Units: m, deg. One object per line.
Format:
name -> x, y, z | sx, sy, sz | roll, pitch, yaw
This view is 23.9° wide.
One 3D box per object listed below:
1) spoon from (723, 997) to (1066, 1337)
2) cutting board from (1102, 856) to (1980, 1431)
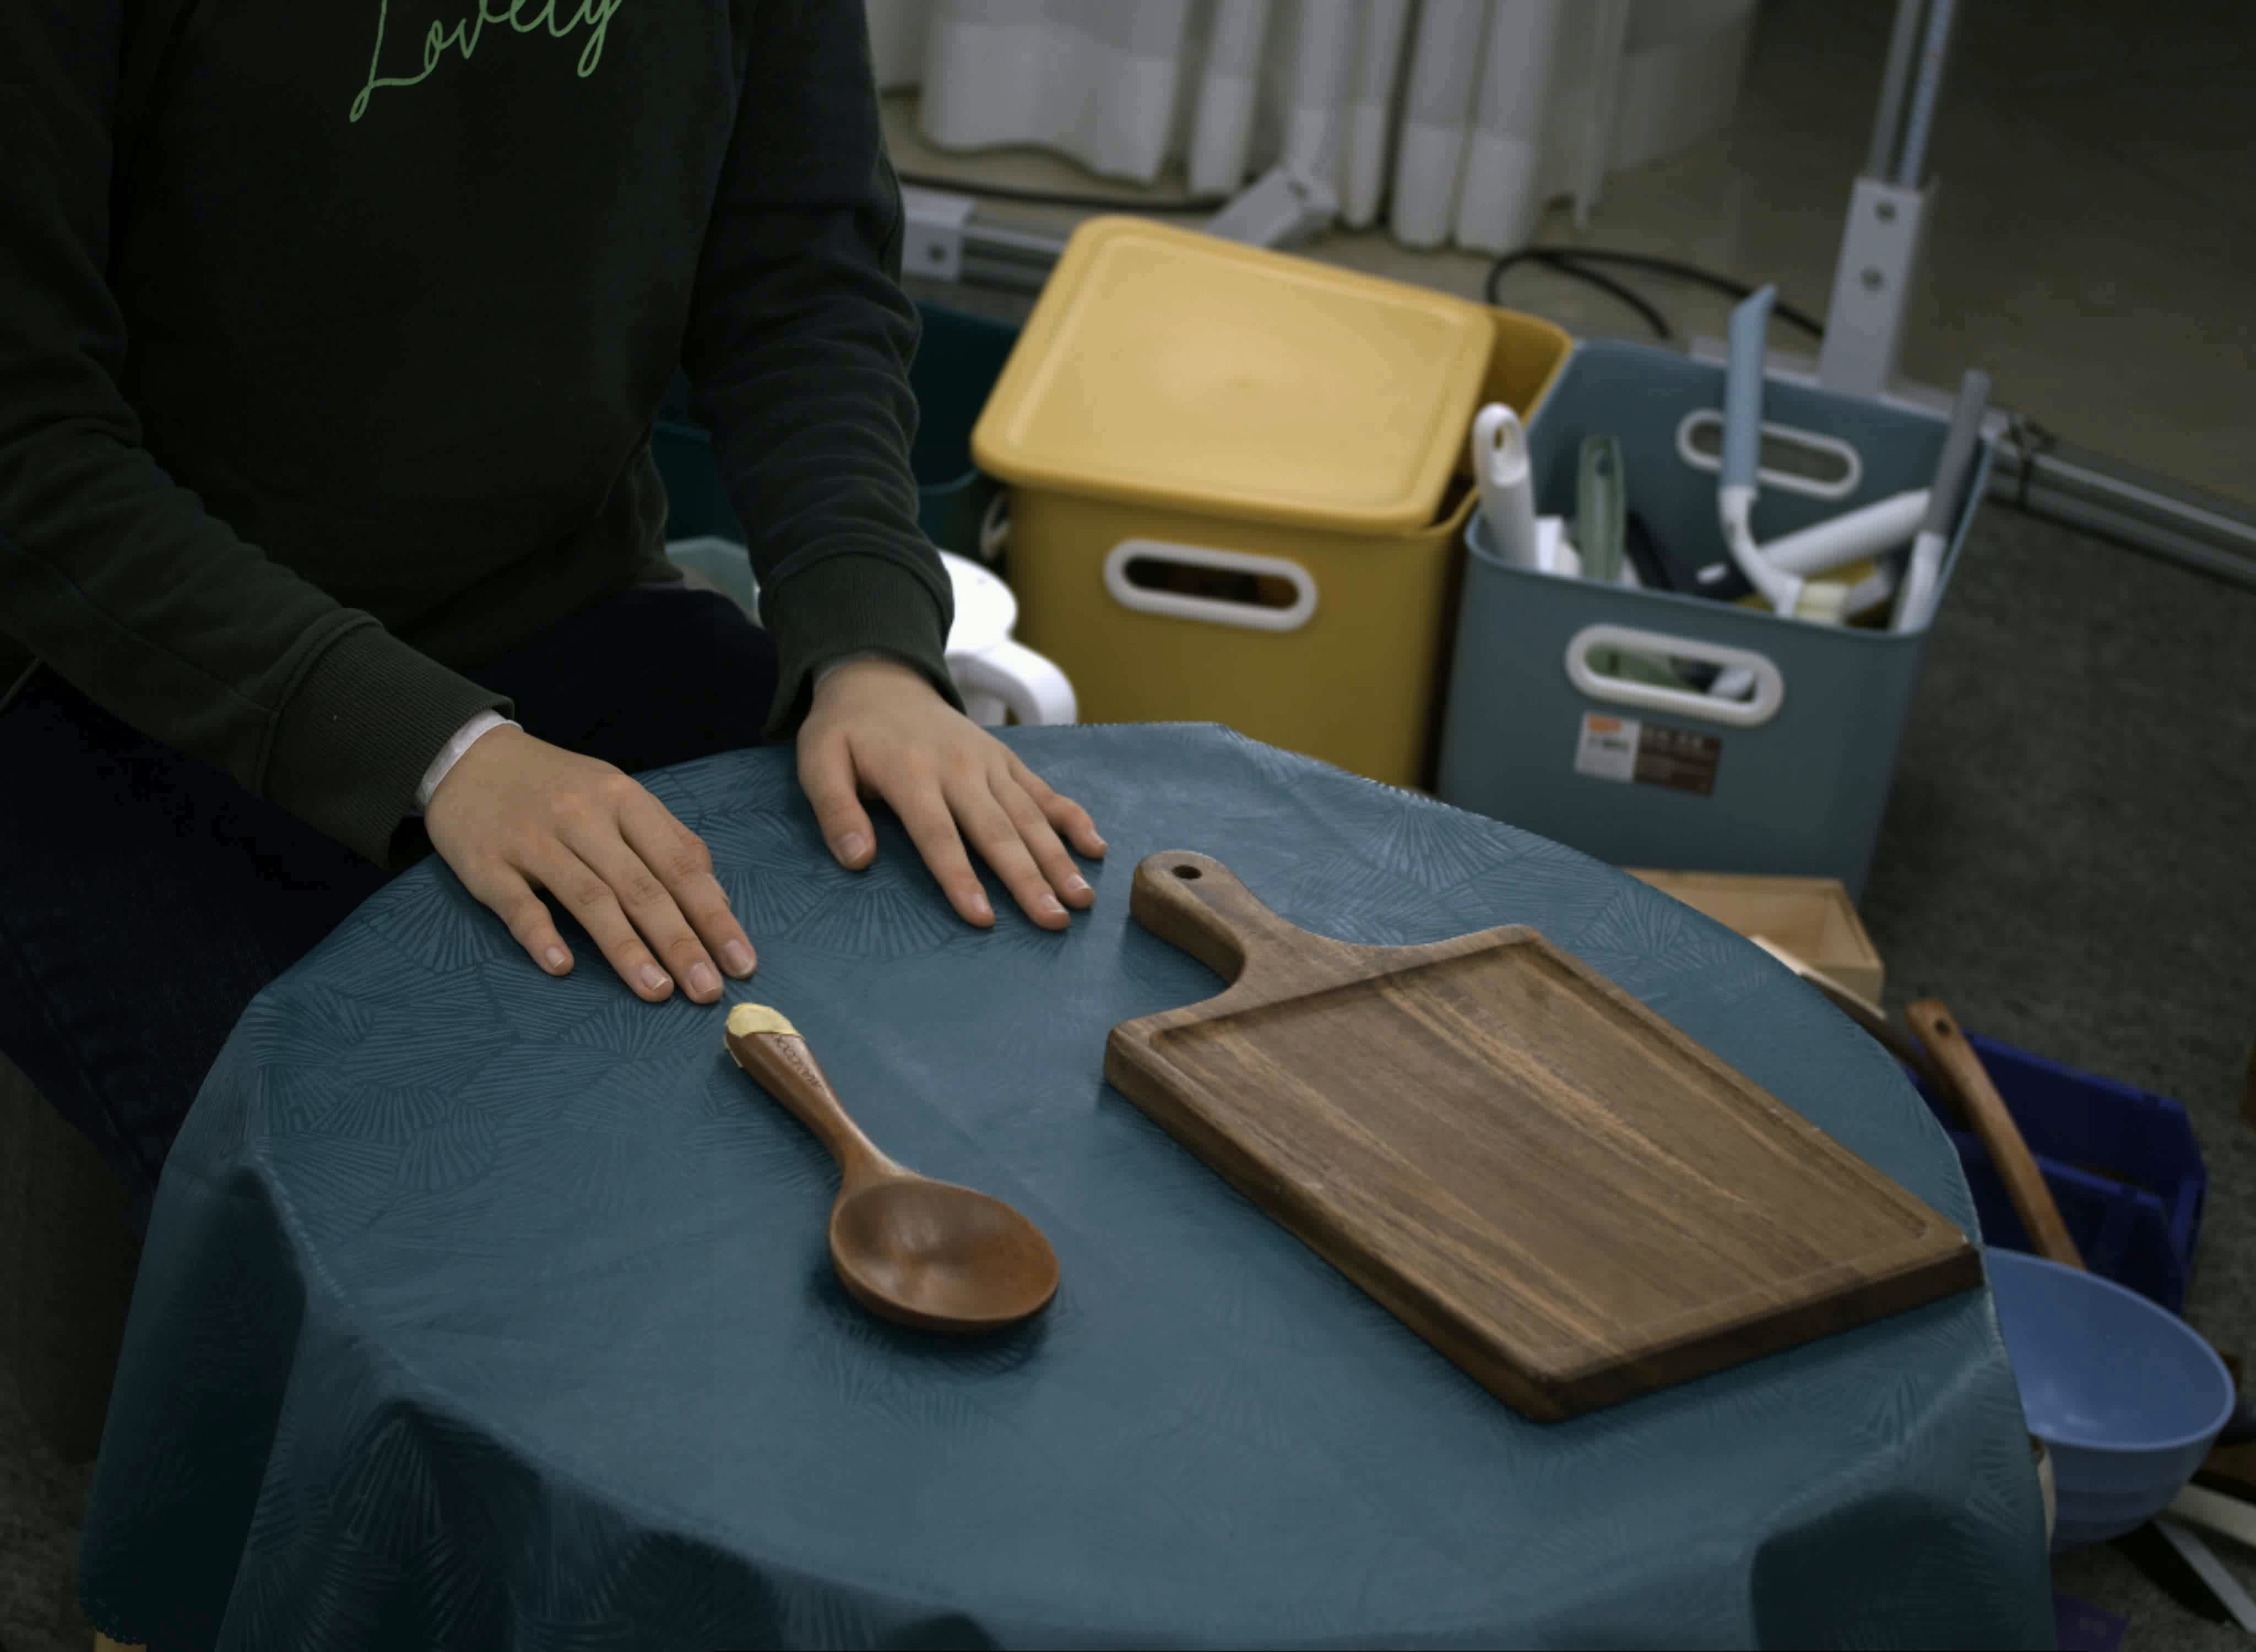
spoon -> -0.087, 0.114, 1.779 | 0.075, 0.017, 0.218 | -8, 31, -24
cutting board -> 0.111, 0.094, 1.864 | 0.200, 0.023, 0.355 | -13, 33, -33
